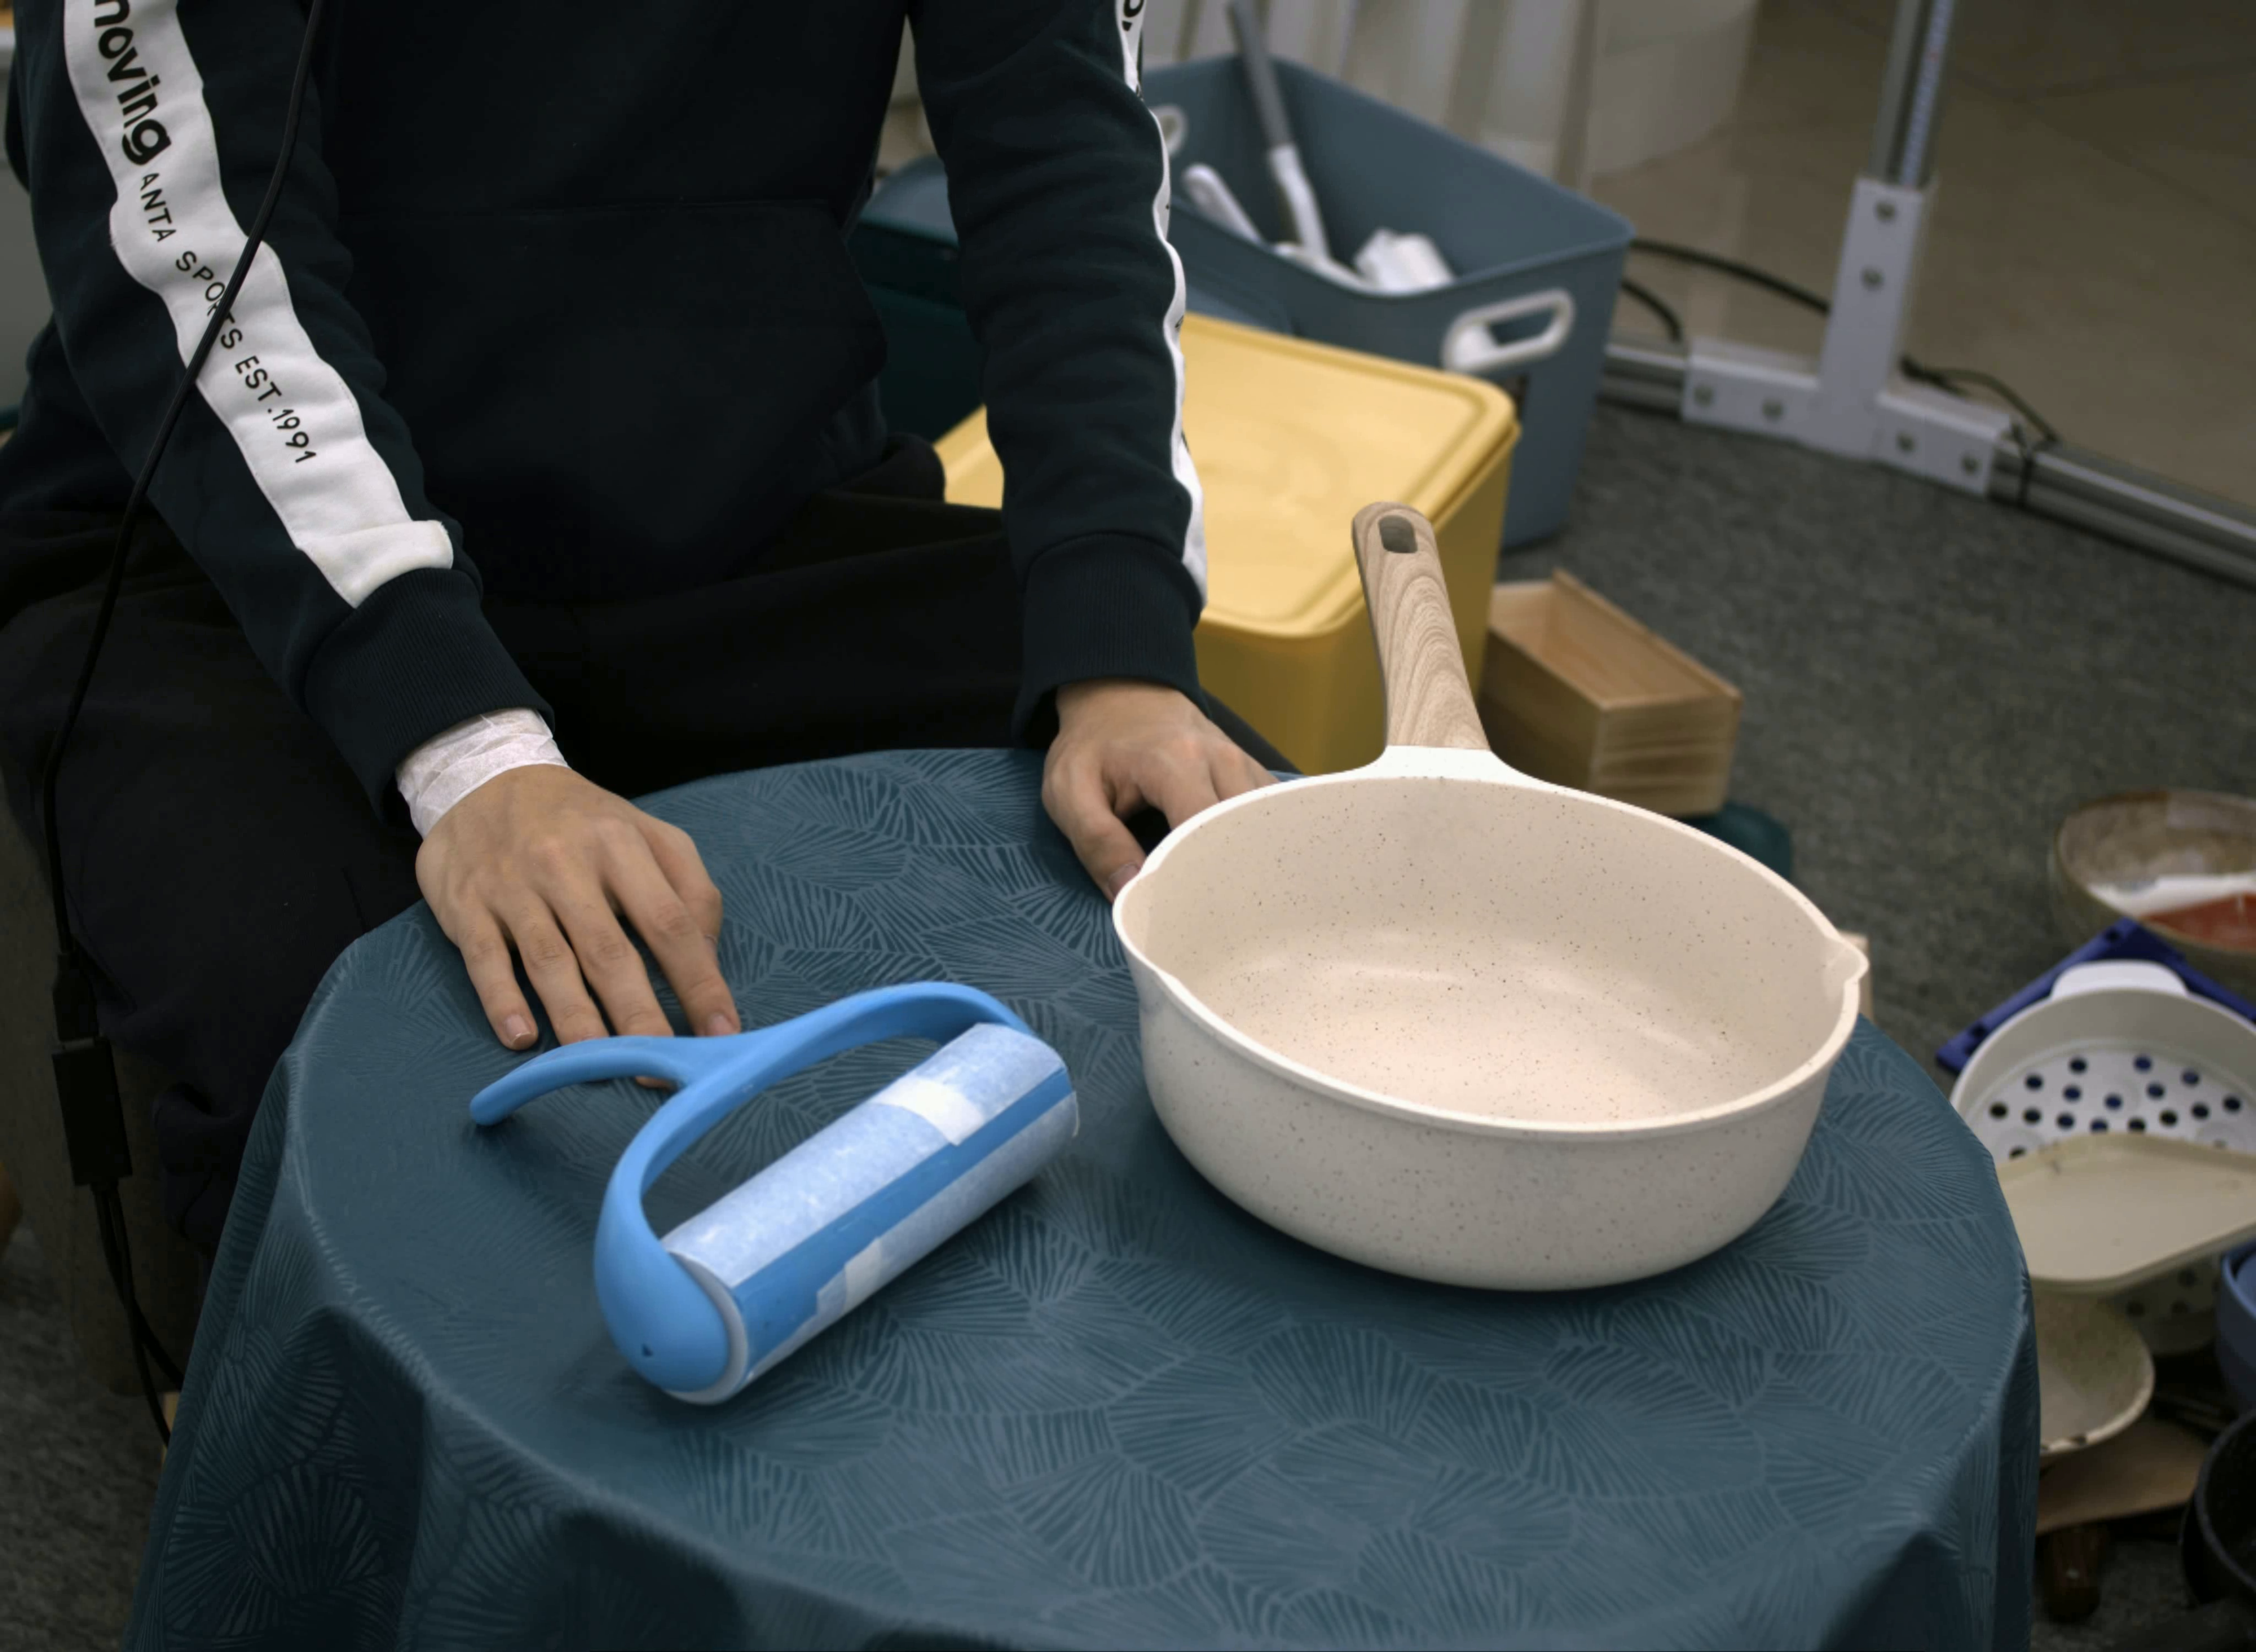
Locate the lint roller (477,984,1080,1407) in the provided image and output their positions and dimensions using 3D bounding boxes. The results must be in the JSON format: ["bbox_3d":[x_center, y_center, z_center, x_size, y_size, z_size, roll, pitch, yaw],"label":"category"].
[{"bbox_3d":[-0.139,0.104,1.743,0.181,0.067,0.228,19,31,23],"label":"lint roller"}]

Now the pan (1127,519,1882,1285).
[{"bbox_3d":[0.117,0.024,1.911,0.262,0.101,0.438,1,27,-7],"label":"pan"}]
